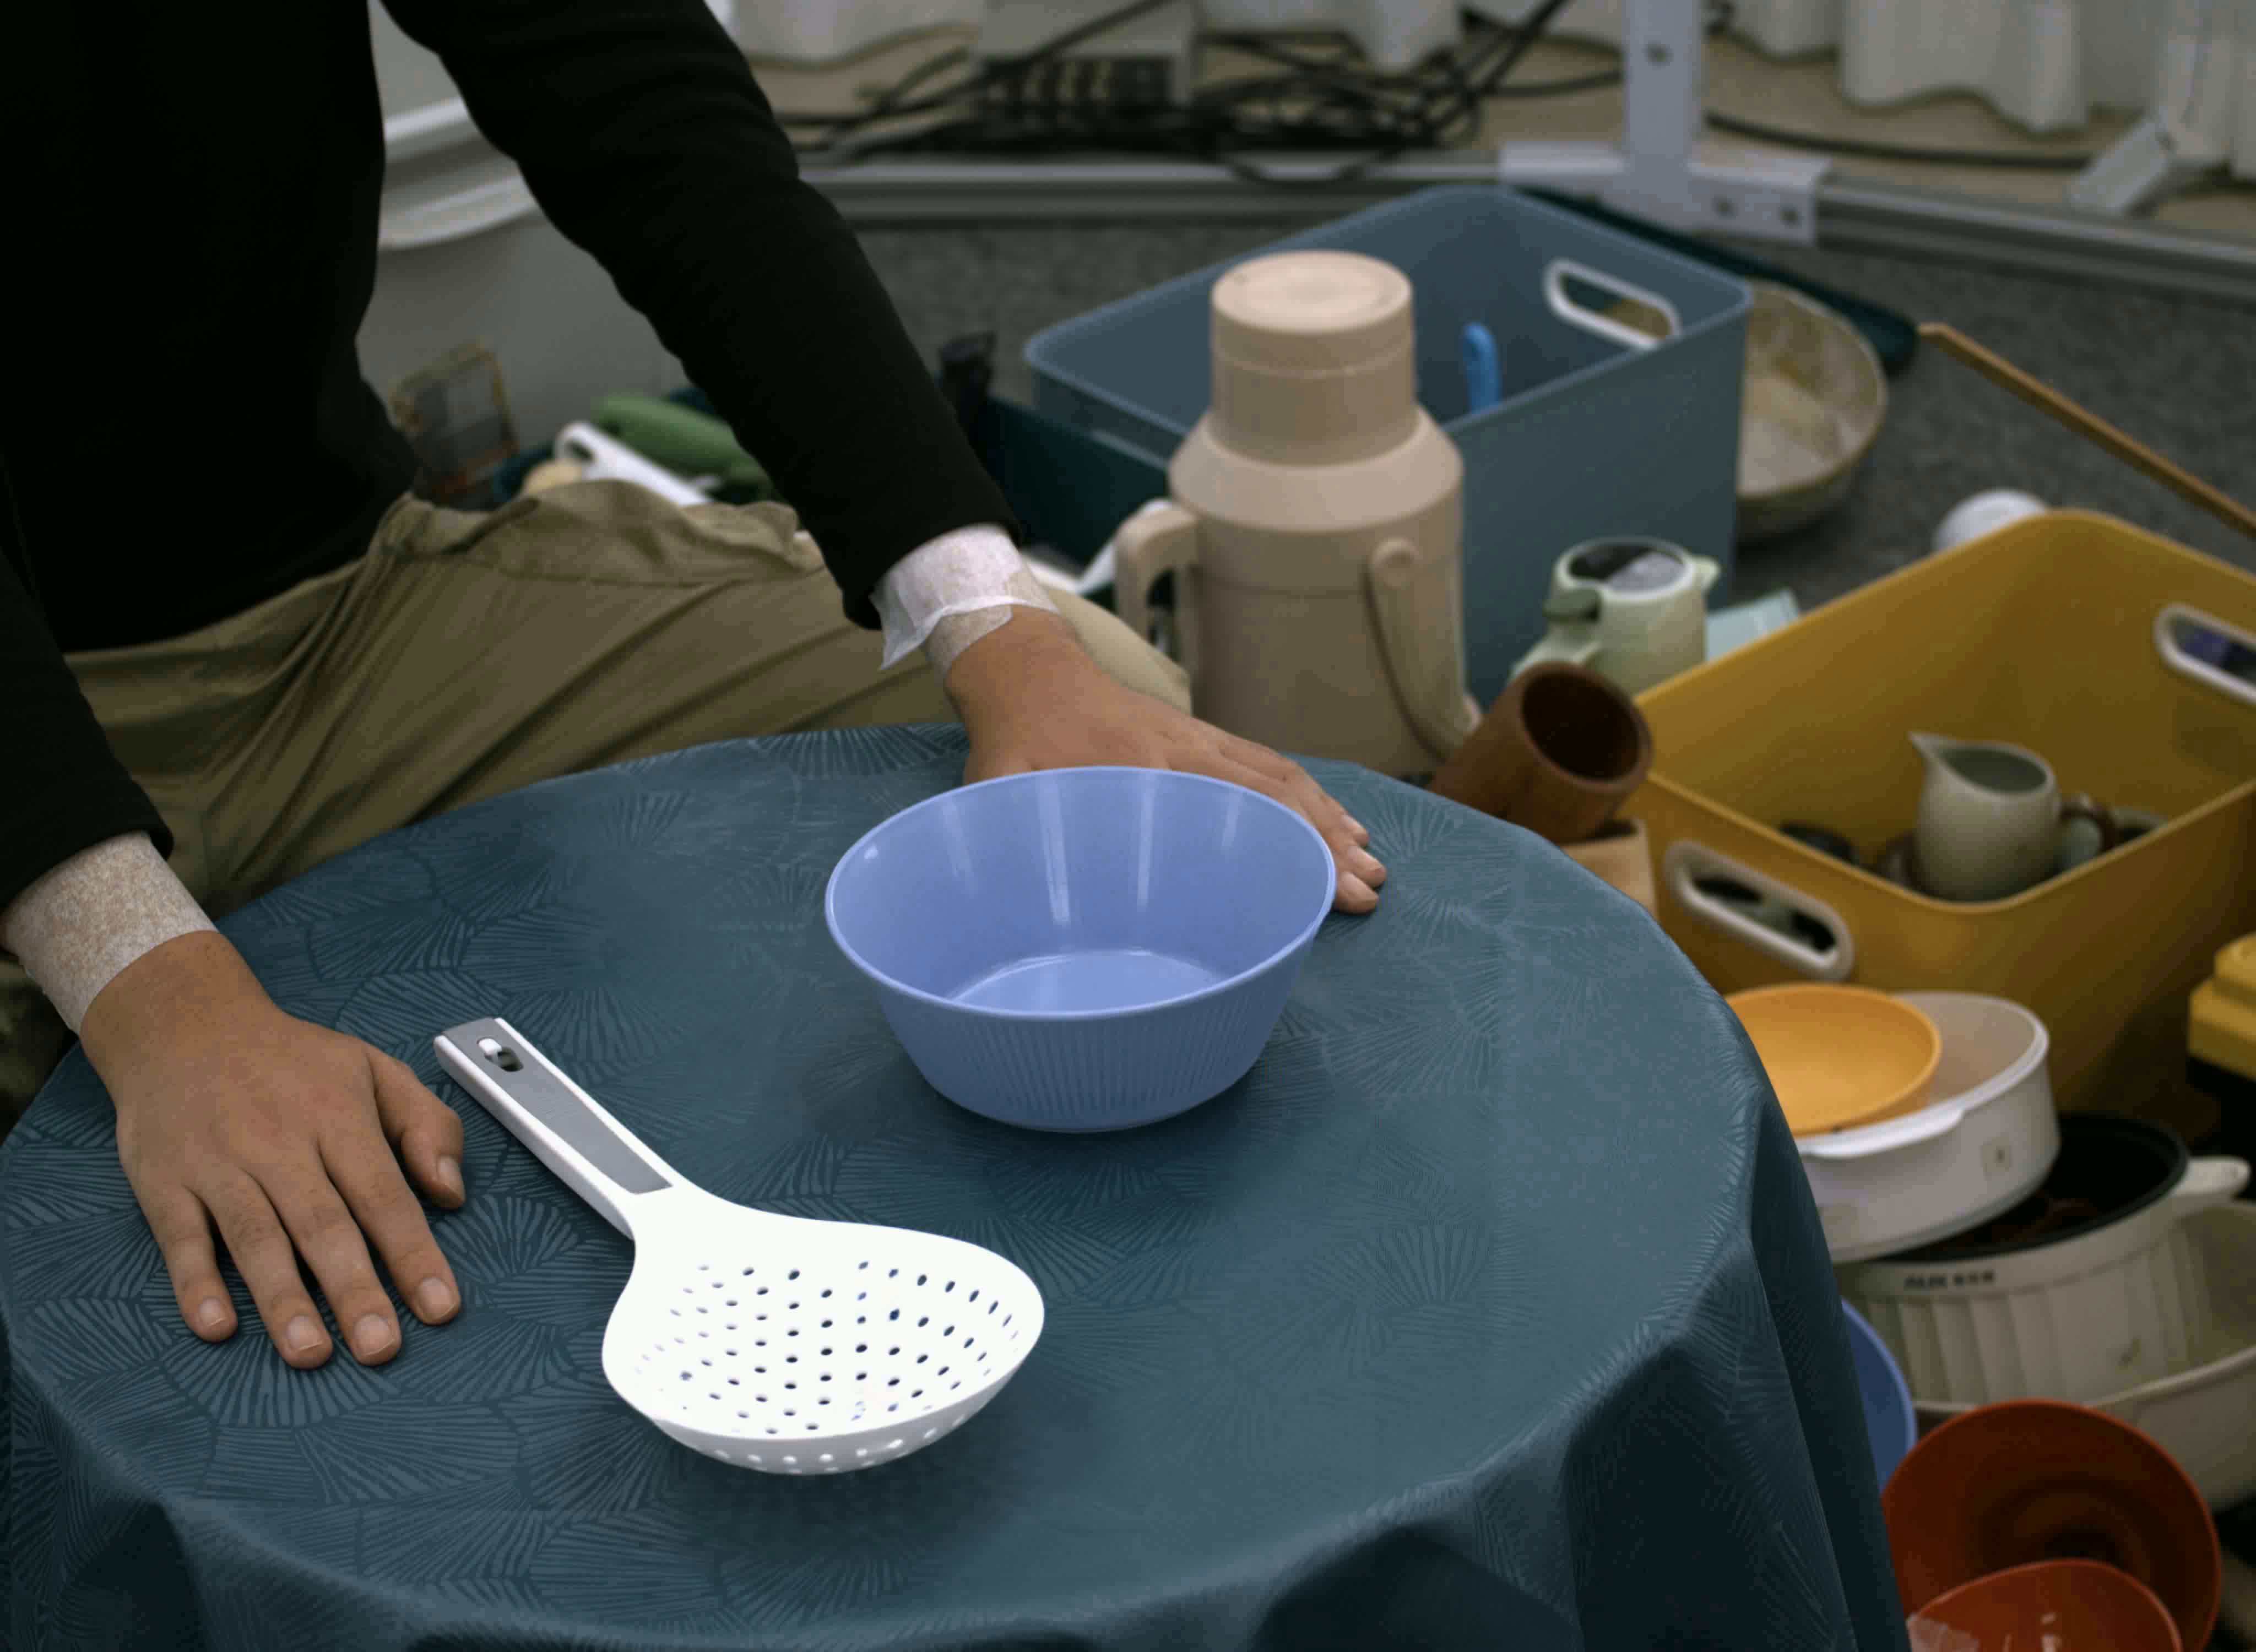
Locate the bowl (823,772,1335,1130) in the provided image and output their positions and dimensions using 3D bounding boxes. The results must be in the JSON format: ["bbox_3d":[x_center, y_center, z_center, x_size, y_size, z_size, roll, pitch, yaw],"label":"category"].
[{"bbox_3d":[-0.015,0.048,1.929,0.175,0.069,0.178,-3,26,2],"label":"bowl"}]

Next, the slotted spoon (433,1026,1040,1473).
[{"bbox_3d":[-0.147,0.129,1.812,0.137,0.045,0.351,-17,29,-25],"label":"slotted spoon"}]
